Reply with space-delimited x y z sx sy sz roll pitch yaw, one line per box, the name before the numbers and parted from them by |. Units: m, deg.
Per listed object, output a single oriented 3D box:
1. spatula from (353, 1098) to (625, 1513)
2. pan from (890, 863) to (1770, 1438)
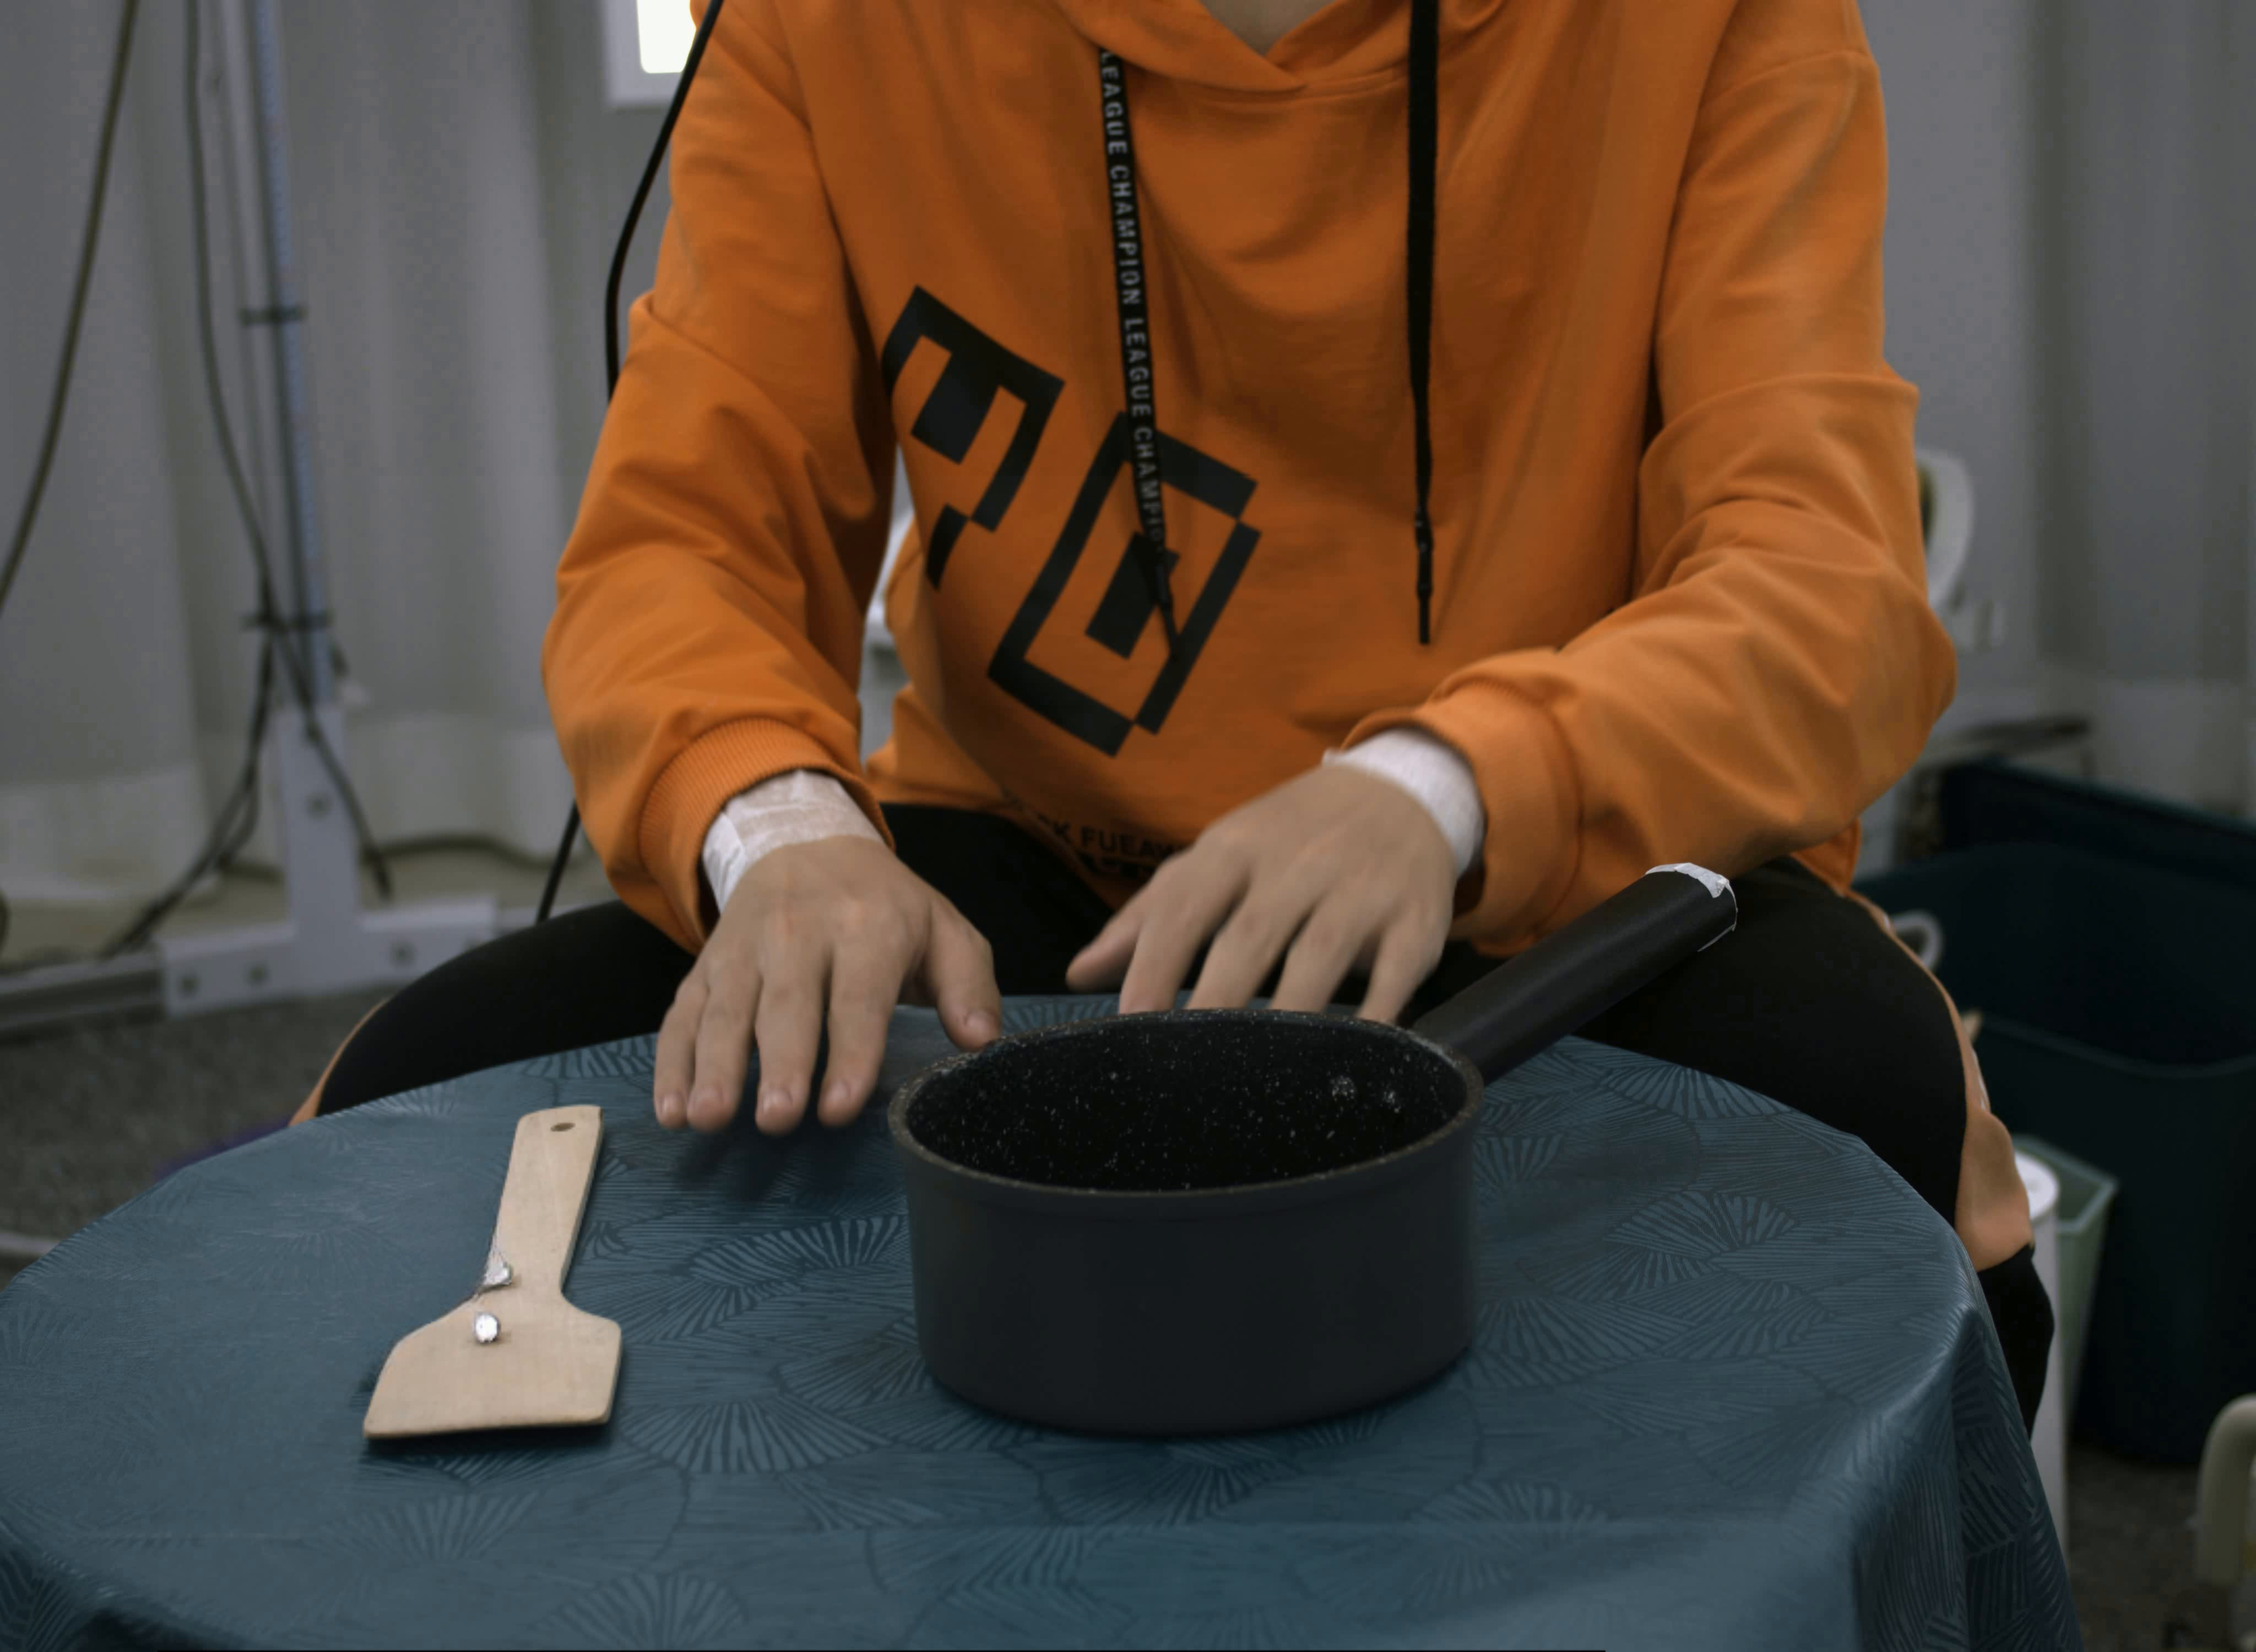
spatula | -0.183 0.142 1.677 0.072 0.010 0.295 -11 19 4
pan | 0.075 0.092 1.623 0.328 0.086 0.173 -19 22 -41
